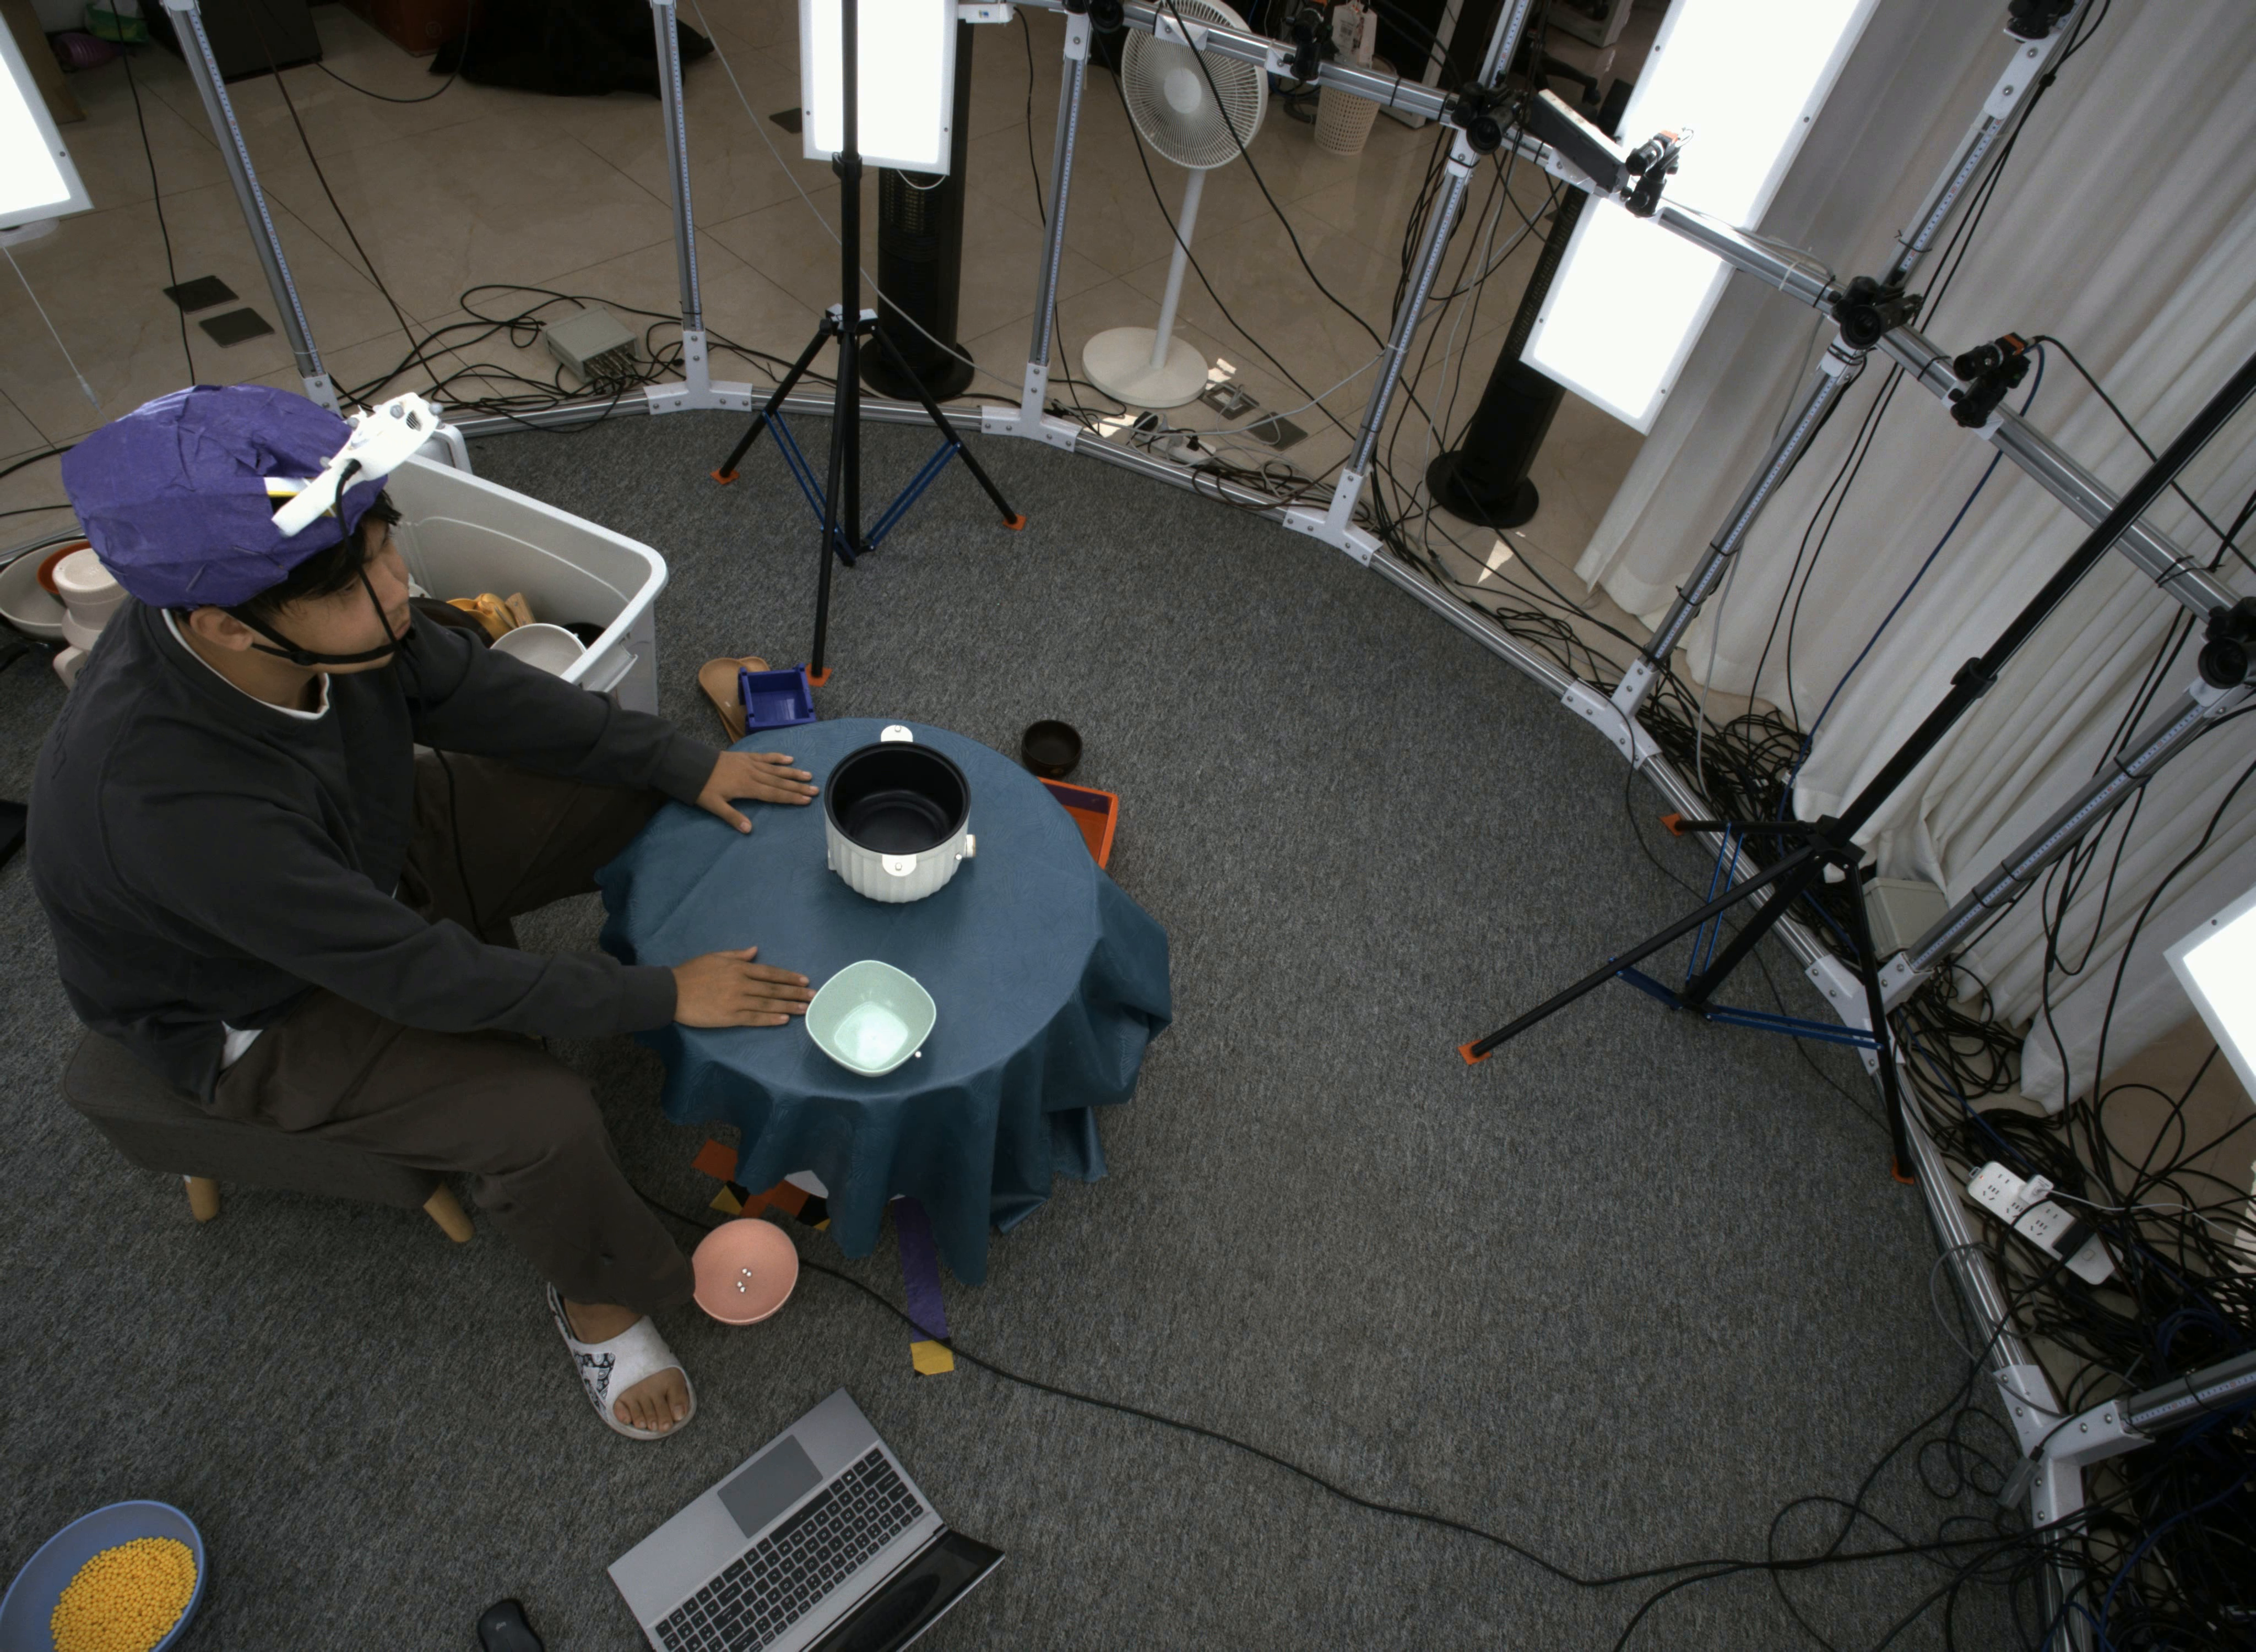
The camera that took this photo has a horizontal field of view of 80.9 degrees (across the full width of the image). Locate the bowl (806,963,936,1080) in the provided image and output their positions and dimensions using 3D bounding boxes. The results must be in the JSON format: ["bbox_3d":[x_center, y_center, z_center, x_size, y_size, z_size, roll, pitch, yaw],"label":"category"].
[{"bbox_3d":[-0.303,0.238,1.536,0.151,0.060,0.148,8,51,-8],"label":"bowl"}]

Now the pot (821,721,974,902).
[{"bbox_3d":[-0.292,-0.003,1.664,0.190,0.146,0.235,-3,56,-11],"label":"pot"}]
